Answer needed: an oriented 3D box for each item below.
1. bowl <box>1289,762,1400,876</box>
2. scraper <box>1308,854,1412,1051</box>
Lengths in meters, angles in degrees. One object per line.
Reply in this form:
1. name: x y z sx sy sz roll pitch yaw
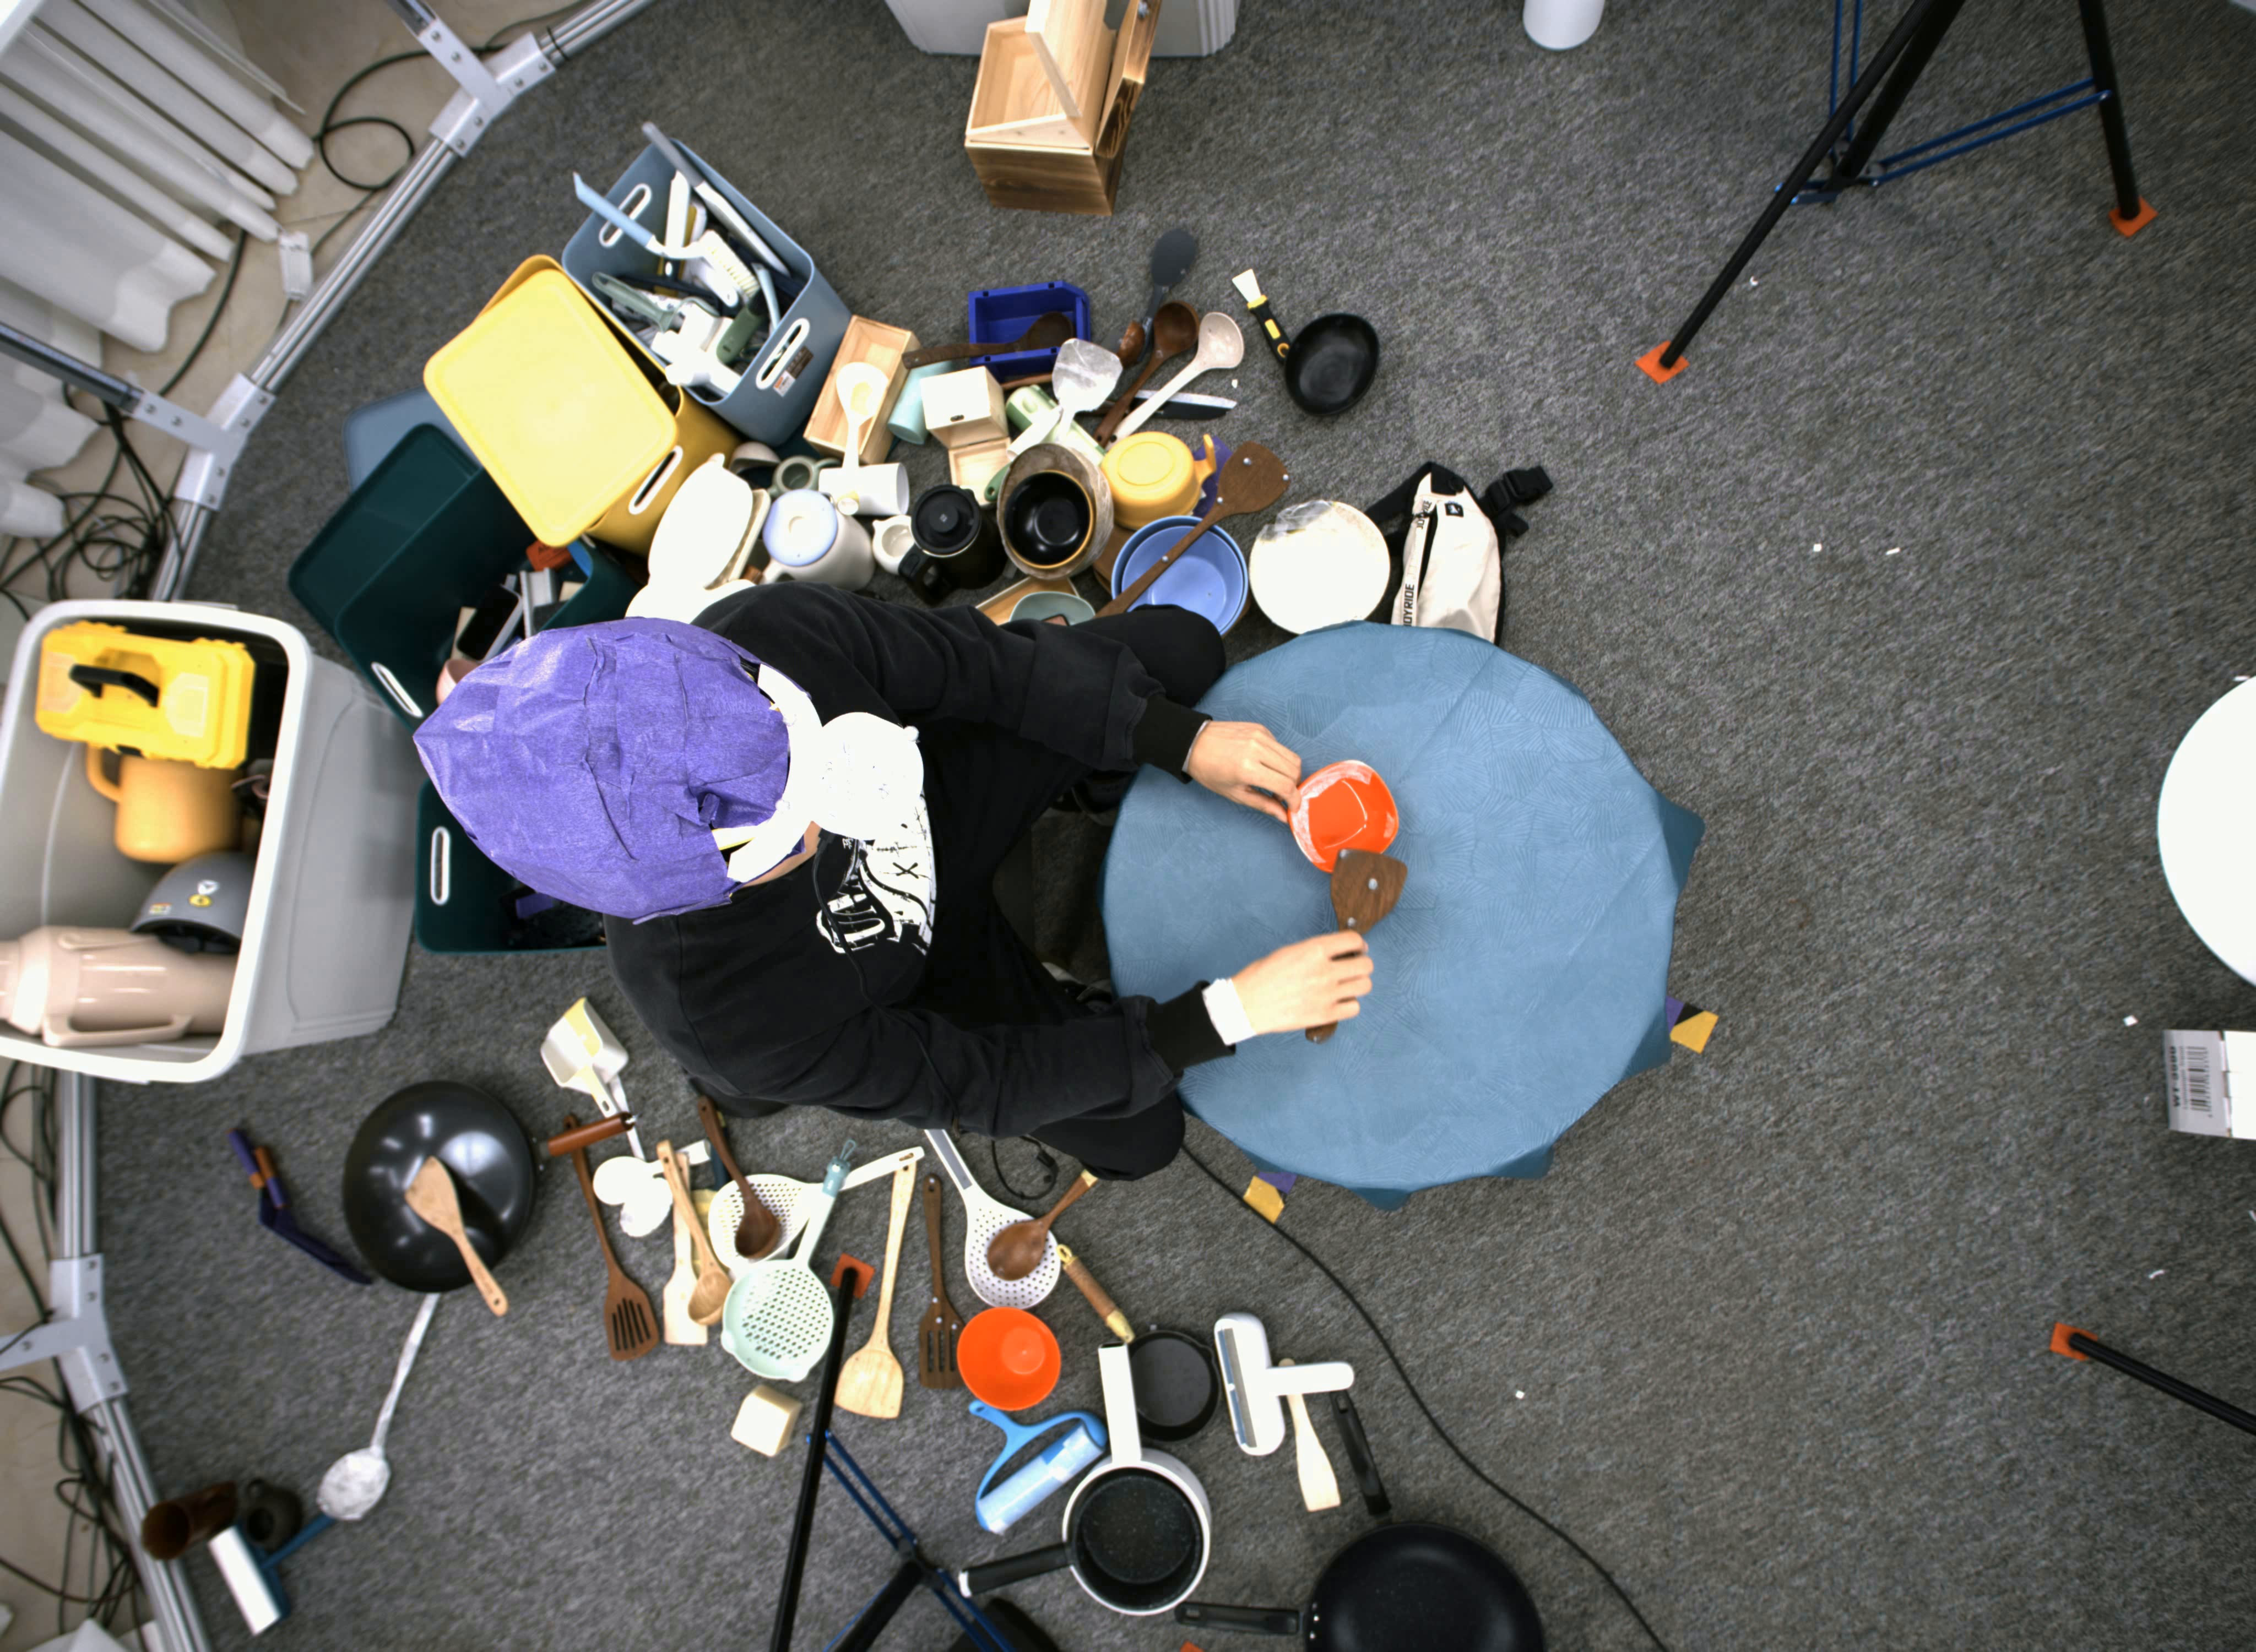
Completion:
1. bowl: 0.221 -0.010 1.443 0.119 0.051 0.119 -1 99 -7
2. scraper: 0.220 0.123 1.367 0.076 0.011 0.207 17 68 12
